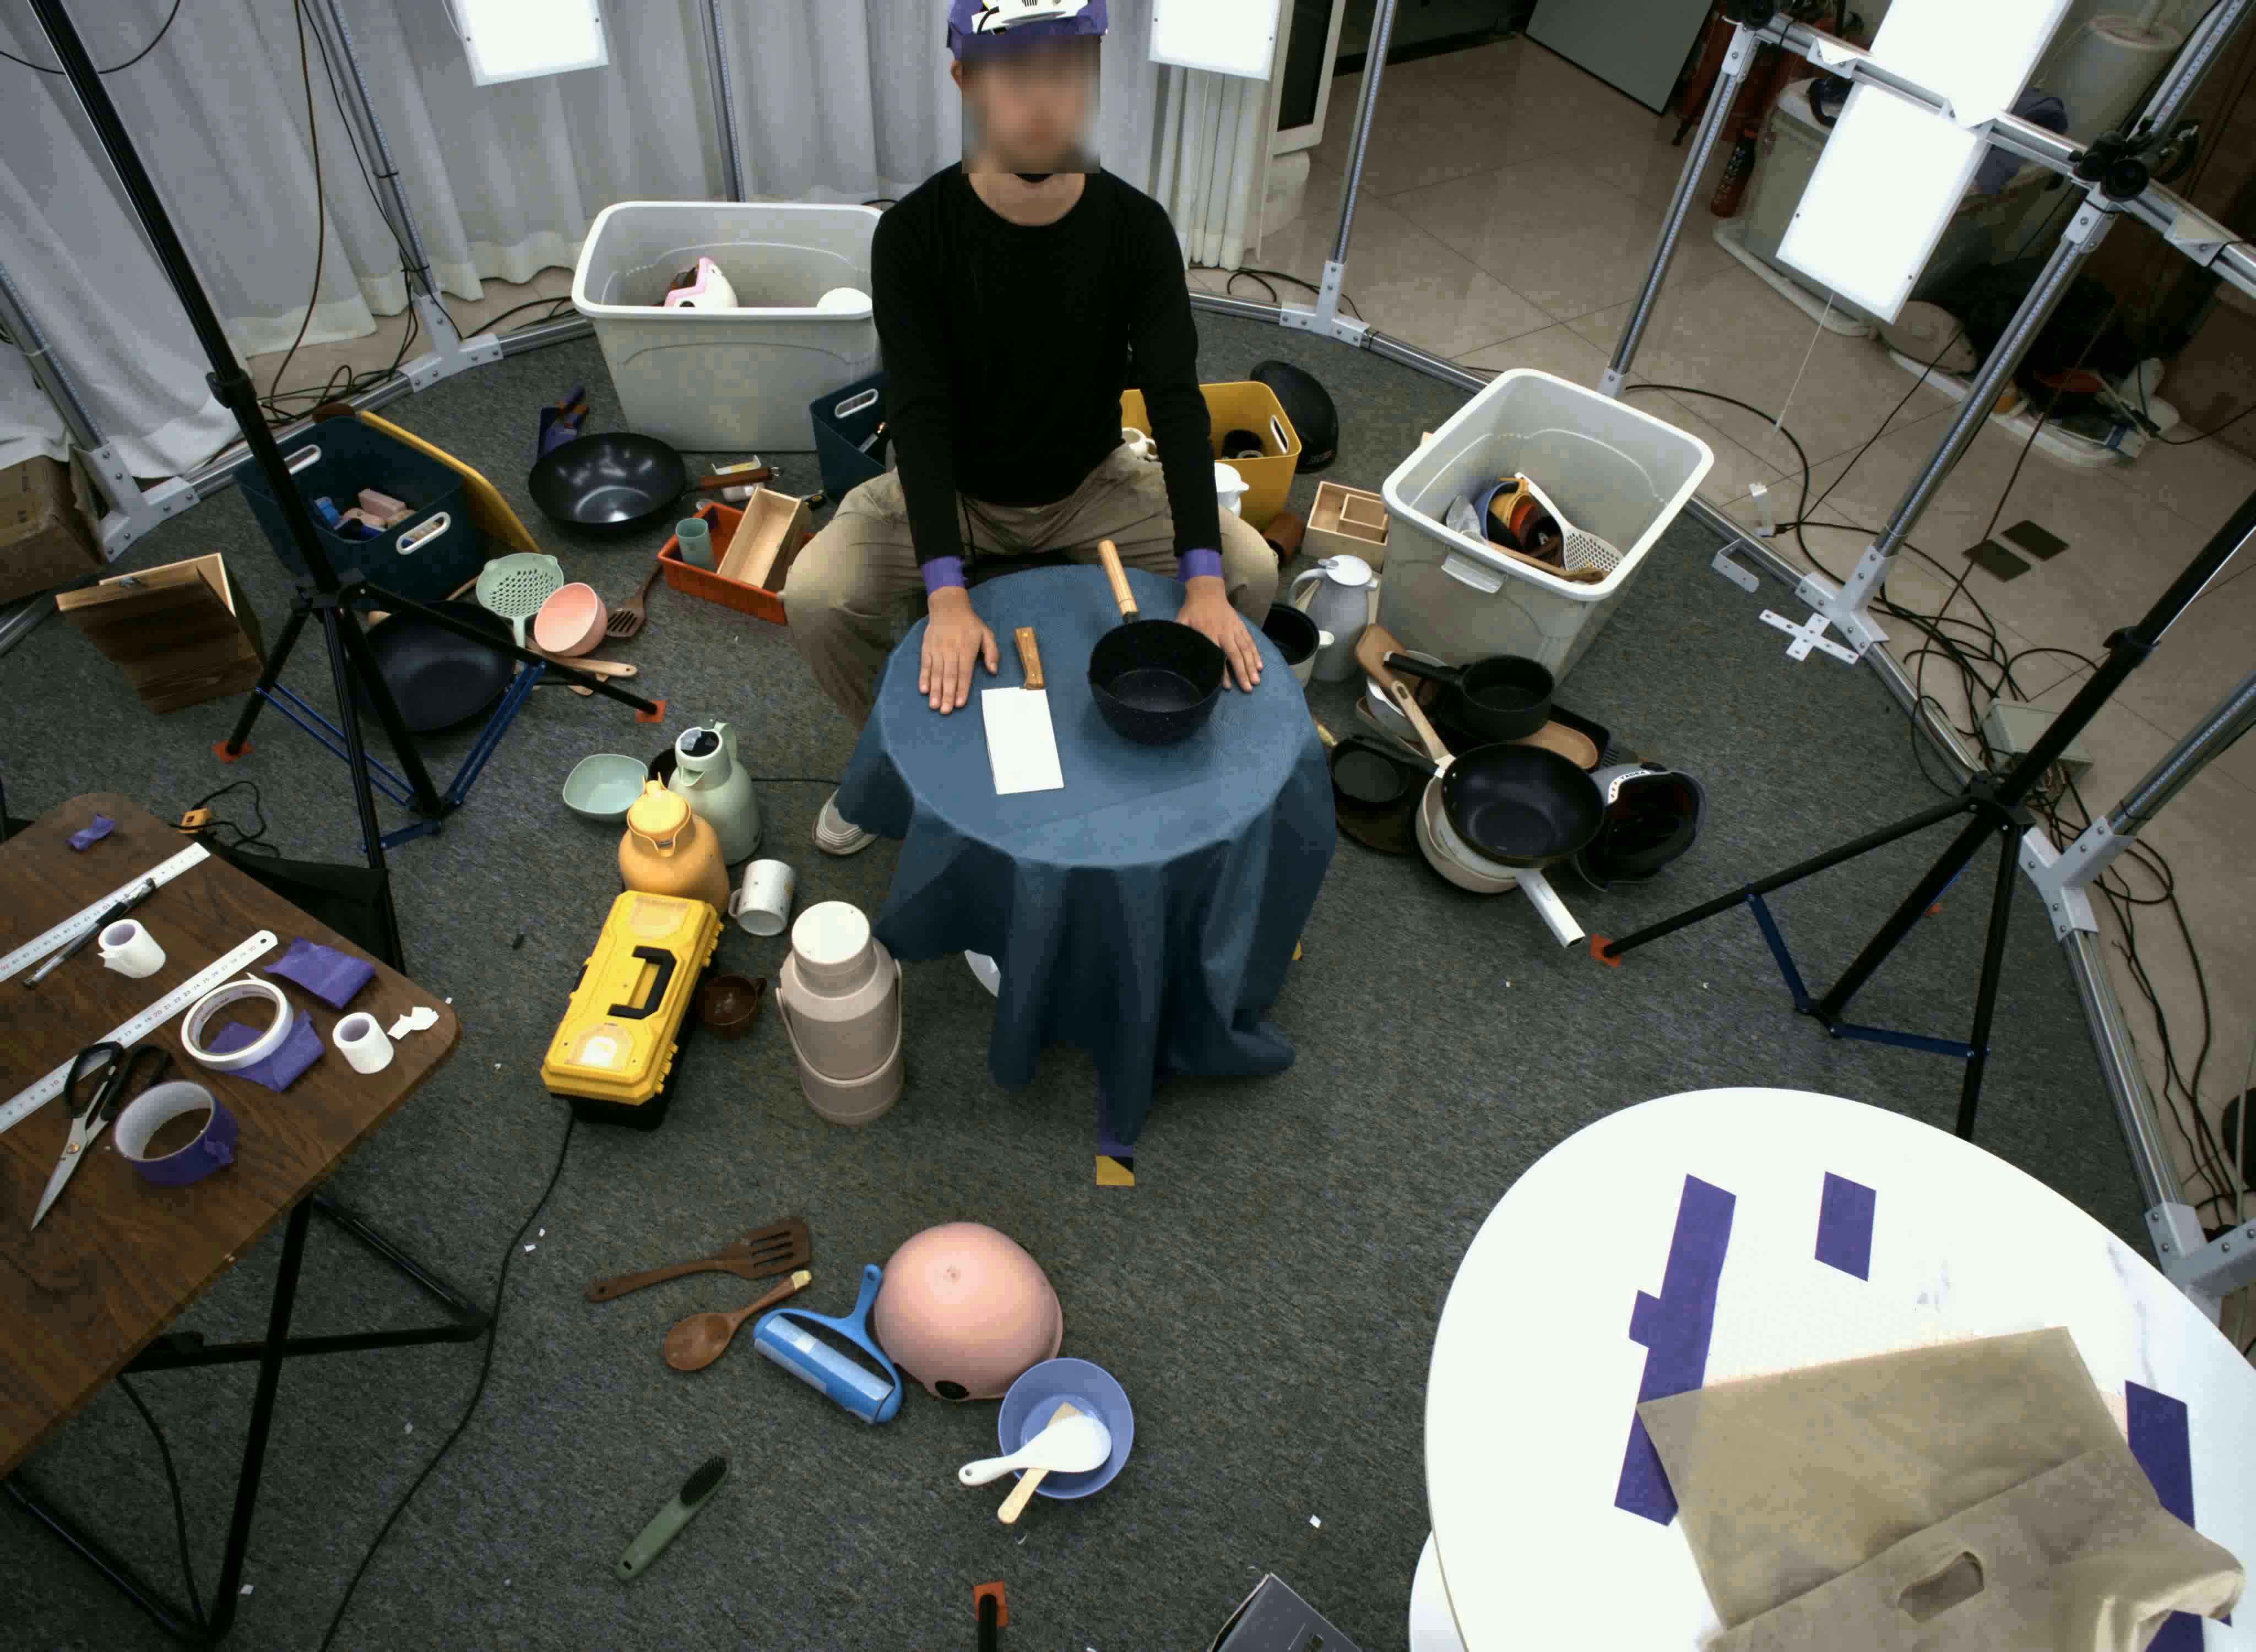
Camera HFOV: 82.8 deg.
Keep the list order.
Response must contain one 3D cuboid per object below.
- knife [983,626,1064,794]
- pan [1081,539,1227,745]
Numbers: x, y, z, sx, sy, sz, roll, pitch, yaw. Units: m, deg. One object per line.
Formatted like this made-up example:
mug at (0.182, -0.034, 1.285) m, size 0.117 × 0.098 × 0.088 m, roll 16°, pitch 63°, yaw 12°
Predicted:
knife at (-0.153, -0.166, 1.794) m, size 0.093 × 0.020 × 0.313 m, roll -6°, pitch 52°, yaw -8°
pan at (0.013, -0.262, 1.829) m, size 0.207 × 0.105 × 0.351 m, roll -12°, pitch 52°, yaw -14°
